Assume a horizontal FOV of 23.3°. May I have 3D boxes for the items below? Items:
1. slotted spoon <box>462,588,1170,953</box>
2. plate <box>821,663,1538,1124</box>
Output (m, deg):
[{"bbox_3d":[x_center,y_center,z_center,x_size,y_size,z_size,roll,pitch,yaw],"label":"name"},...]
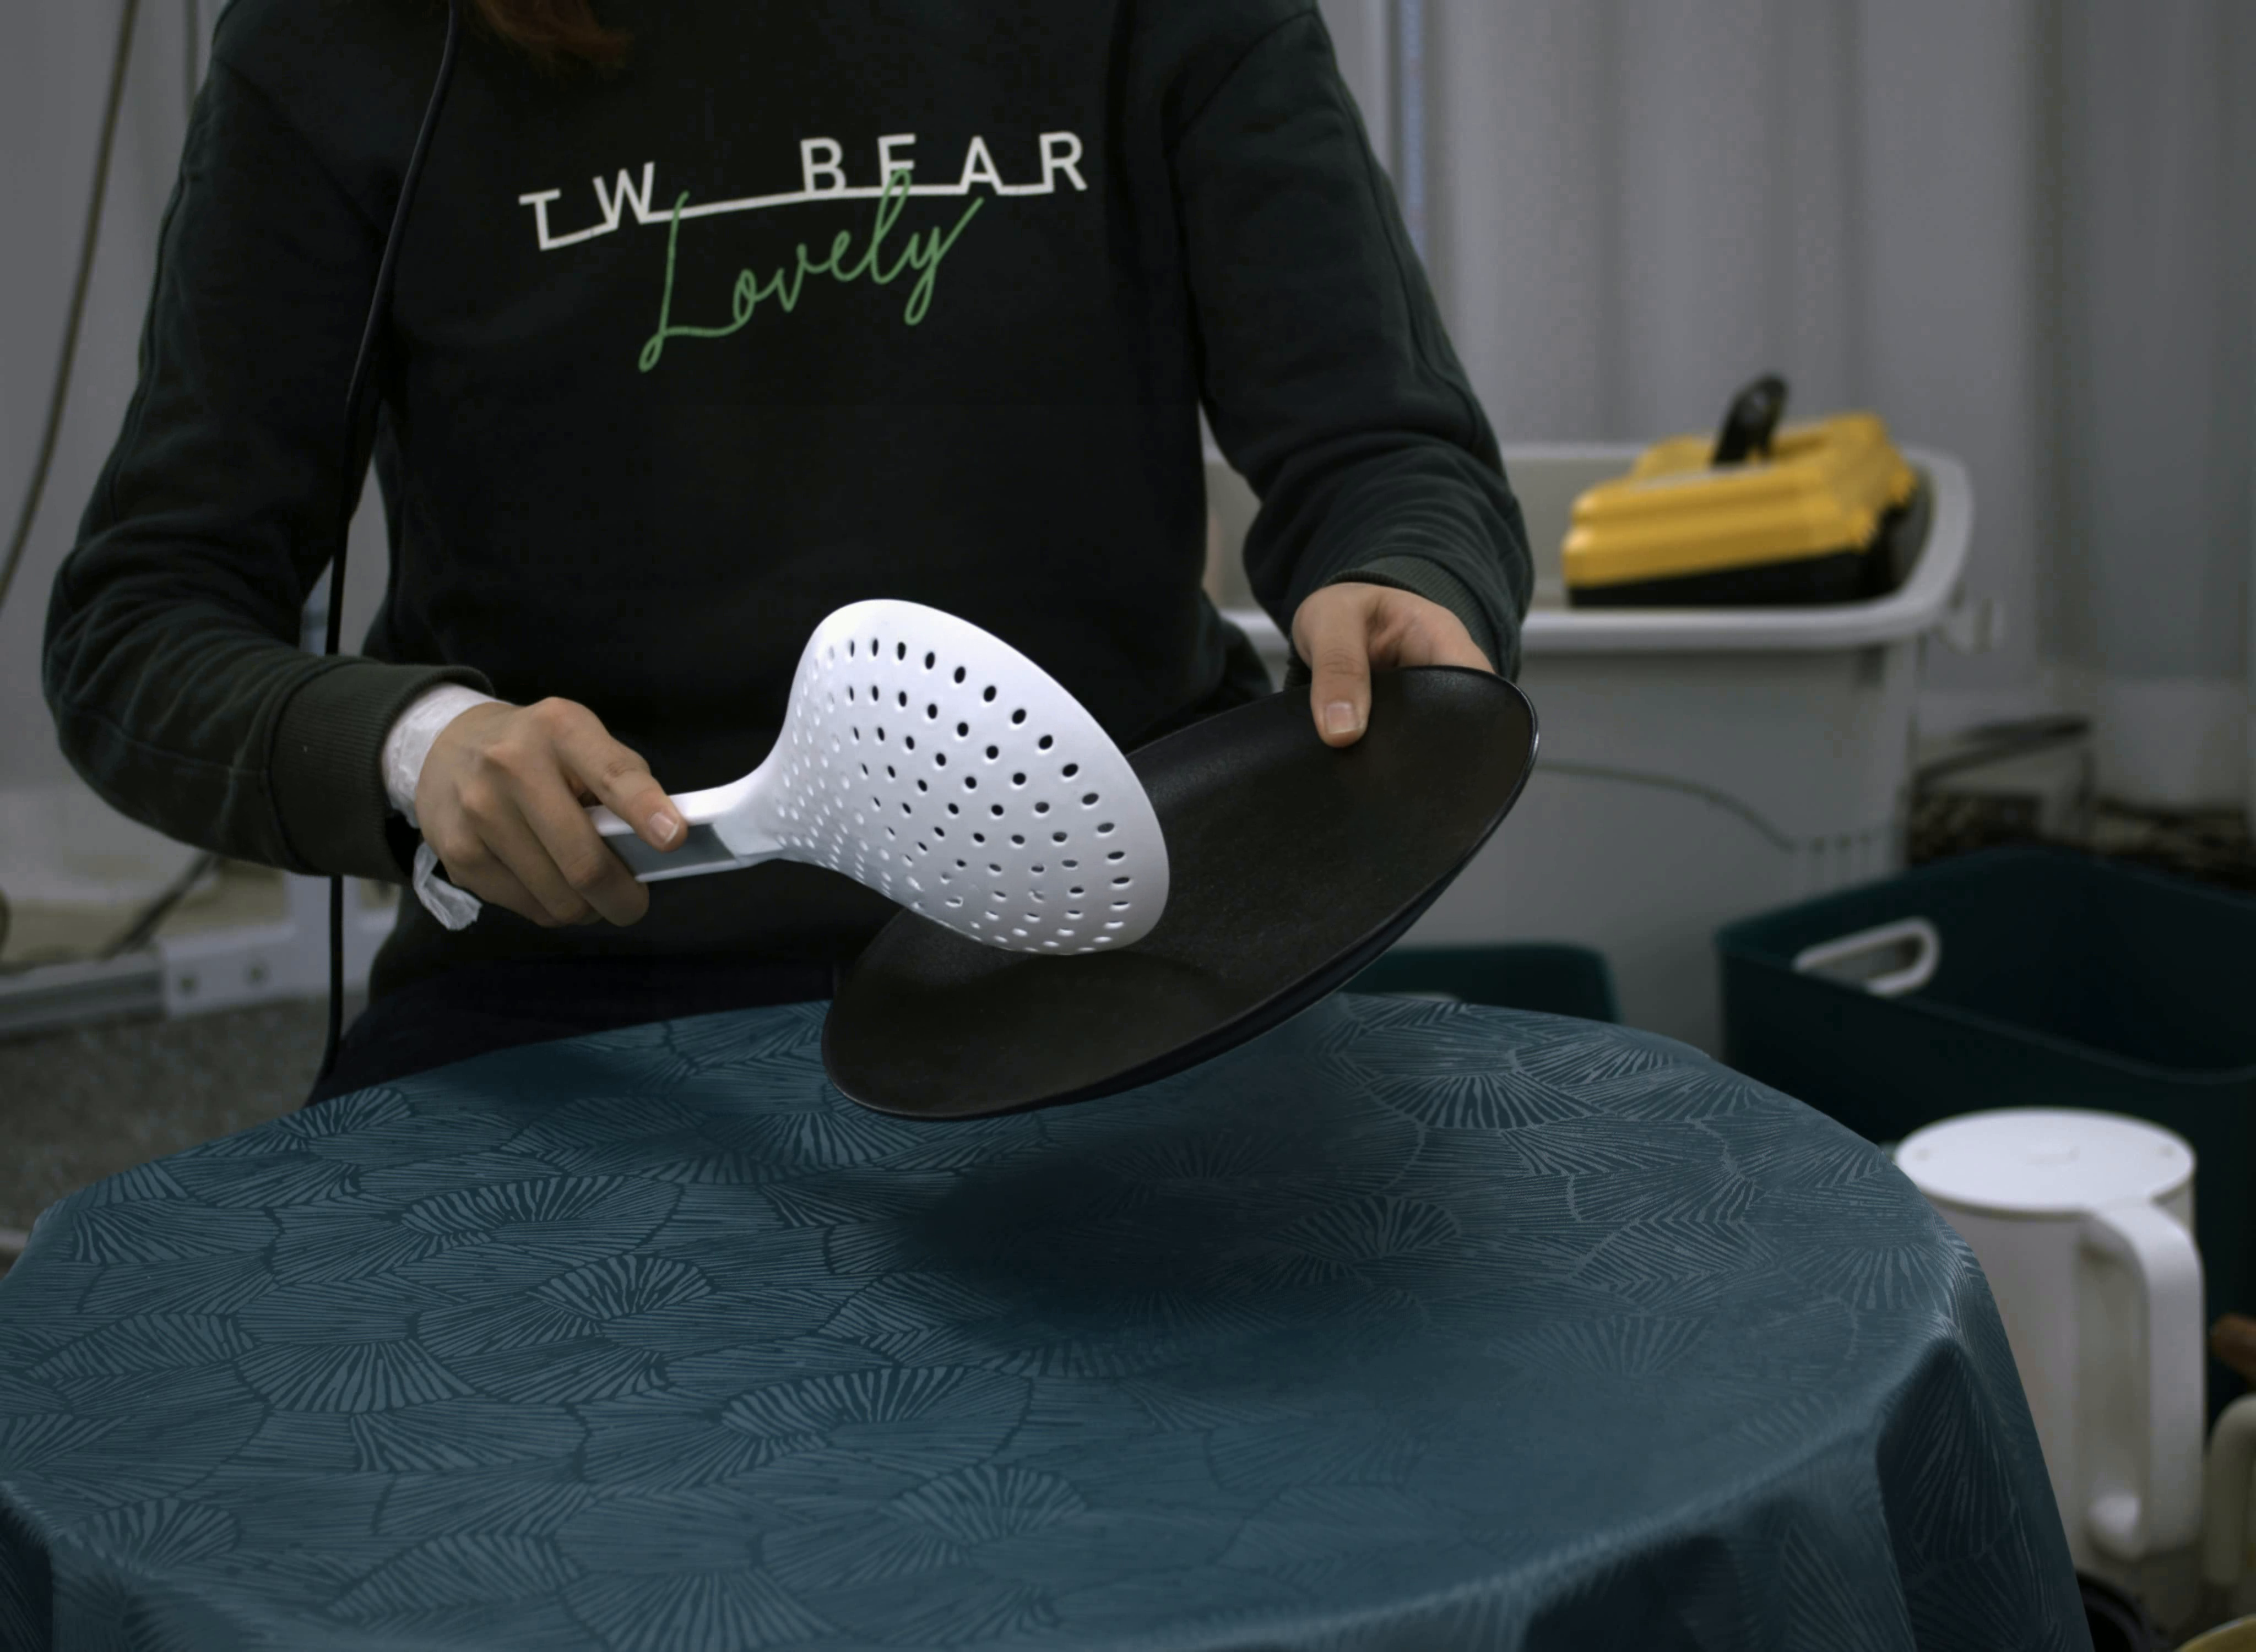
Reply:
[{"bbox_3d":[-0.113,-0.002,1.738,0.046,0.135,0.350,-42,20,-29],"label":"slotted spoon"},{"bbox_3d":[0.018,0.025,1.670,0.244,0.023,0.247,-25,20,9],"label":"plate"}]
